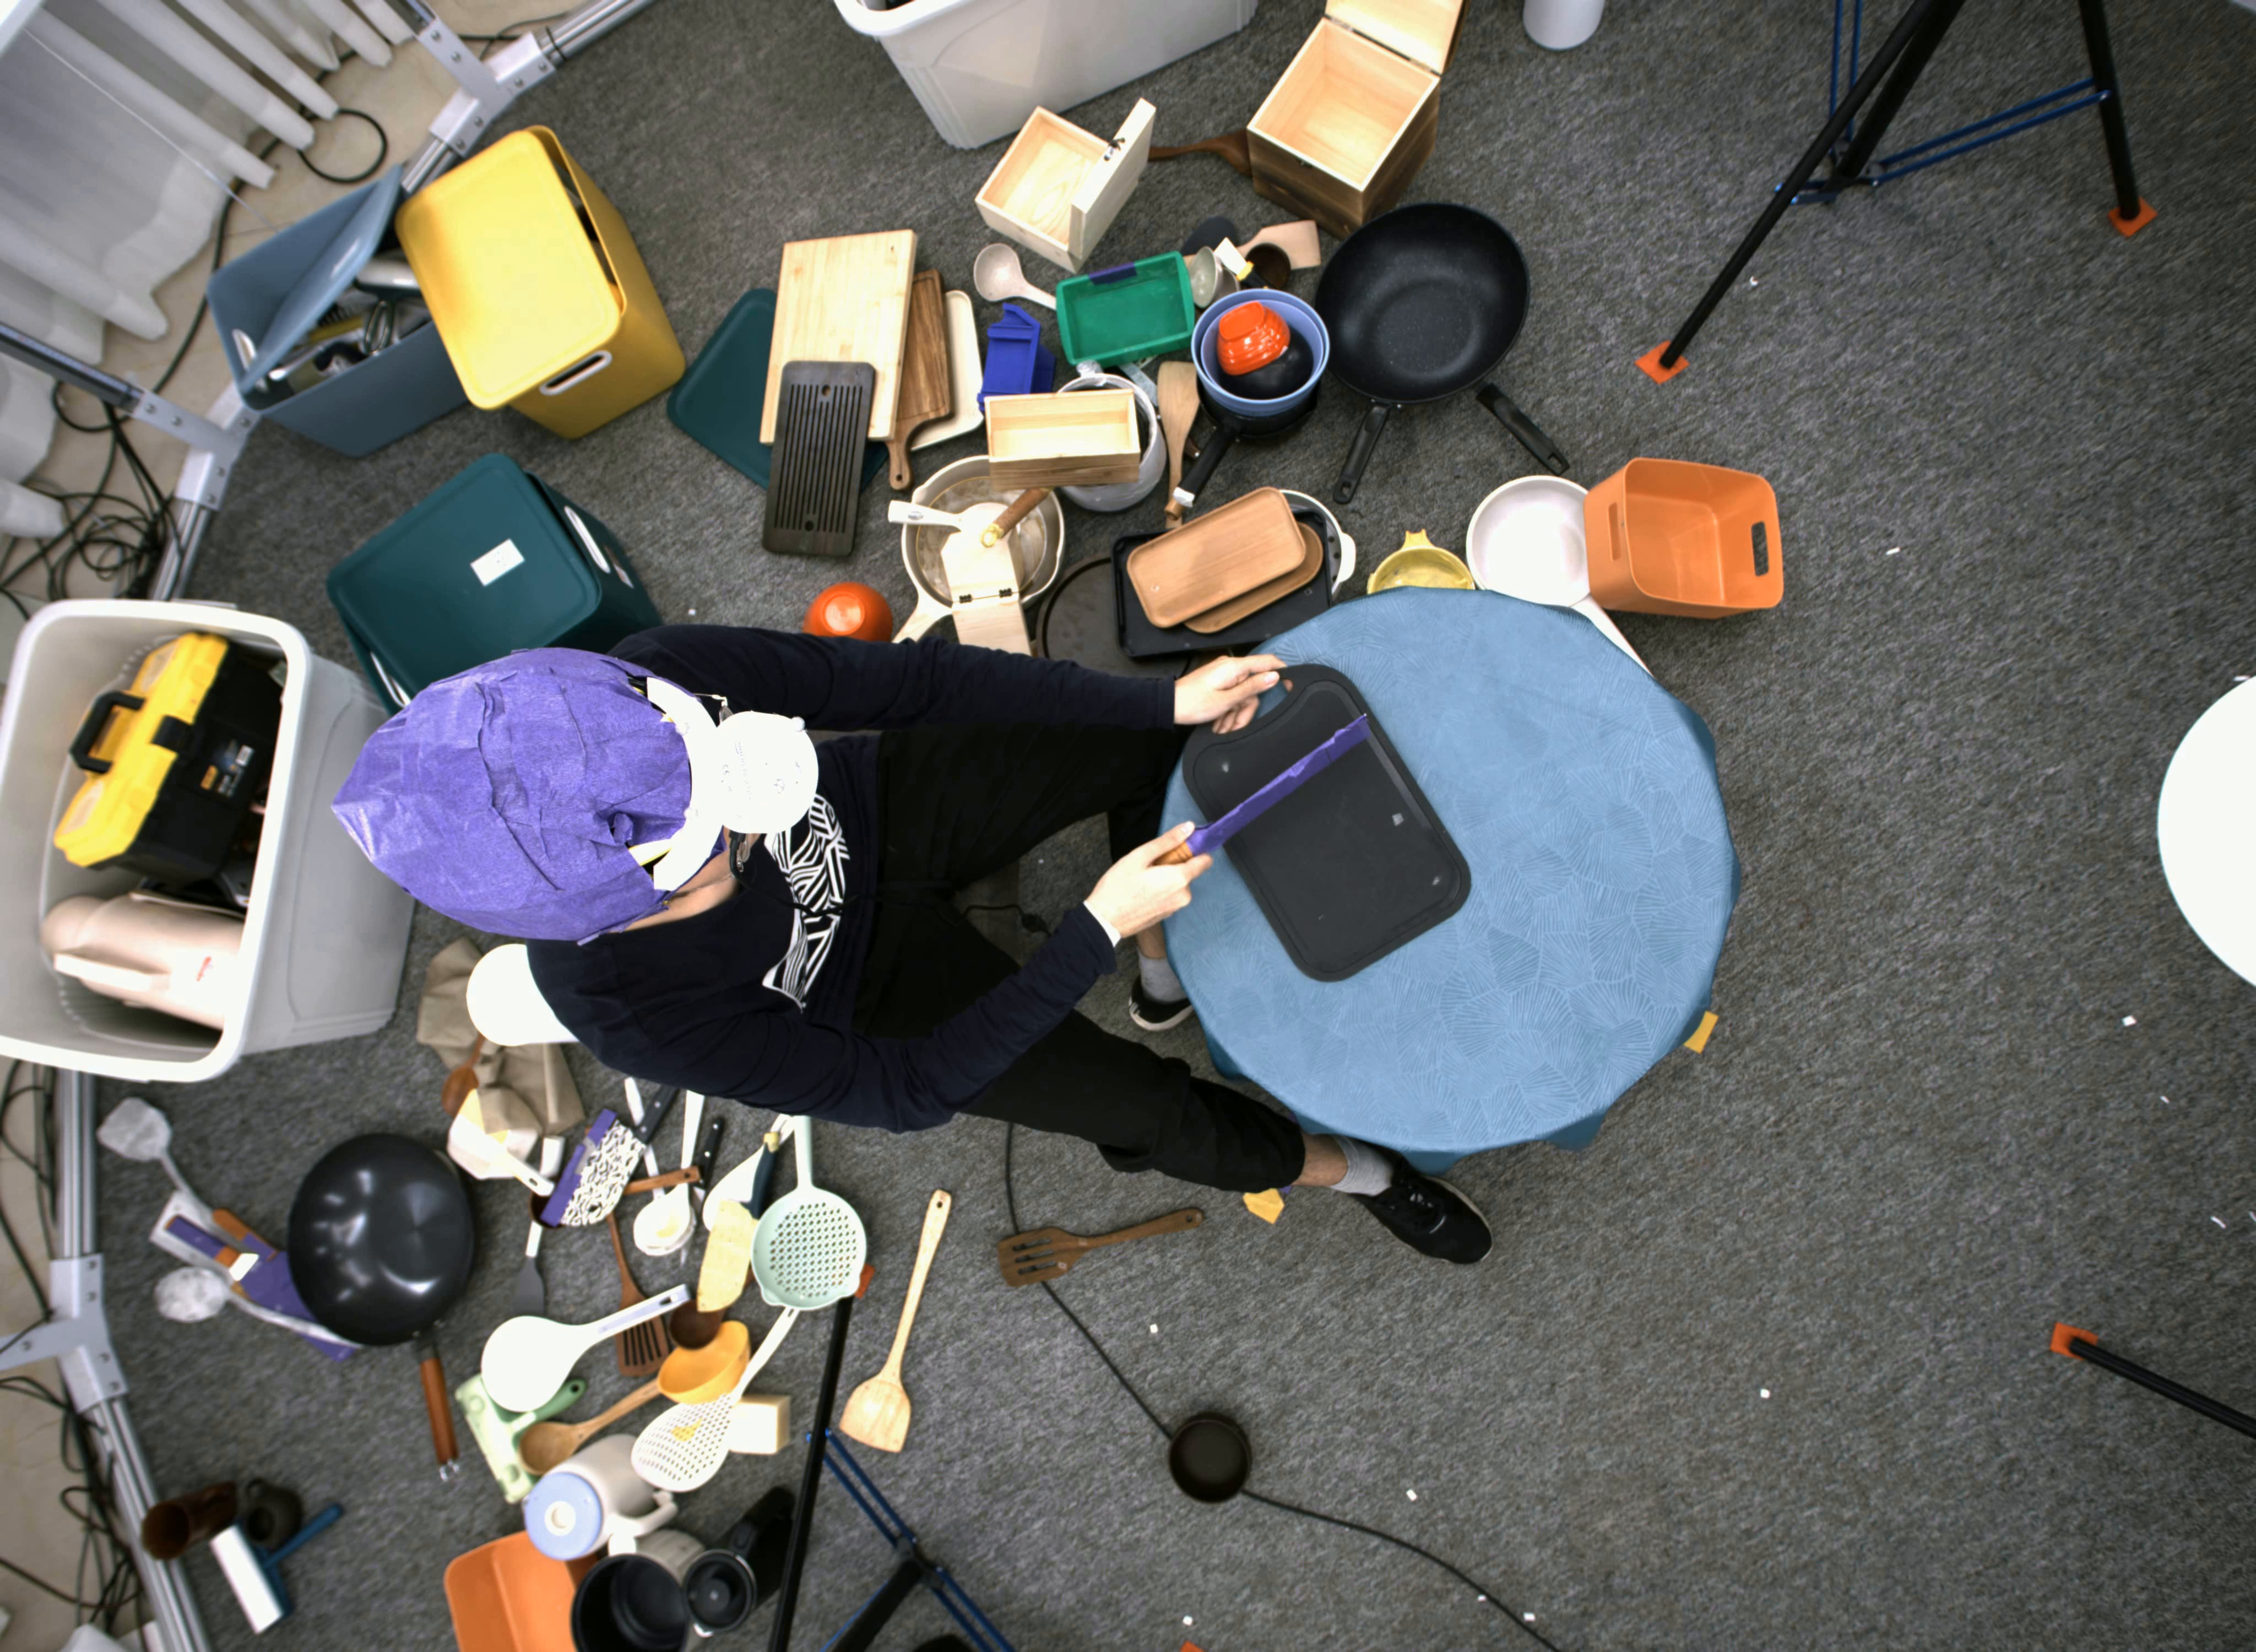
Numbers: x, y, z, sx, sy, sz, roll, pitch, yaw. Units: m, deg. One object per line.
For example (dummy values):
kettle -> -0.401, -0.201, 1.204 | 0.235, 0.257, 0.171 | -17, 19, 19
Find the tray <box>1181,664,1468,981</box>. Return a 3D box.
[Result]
tray -> 0.202, -0.012, 1.464 | 0.212, 0.010, 0.324 | -31, 86, 7

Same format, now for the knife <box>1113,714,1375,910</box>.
knife -> 0.126, -0.009, 1.426 | 0.317, 0.104, 0.032 | -35, 73, 6
